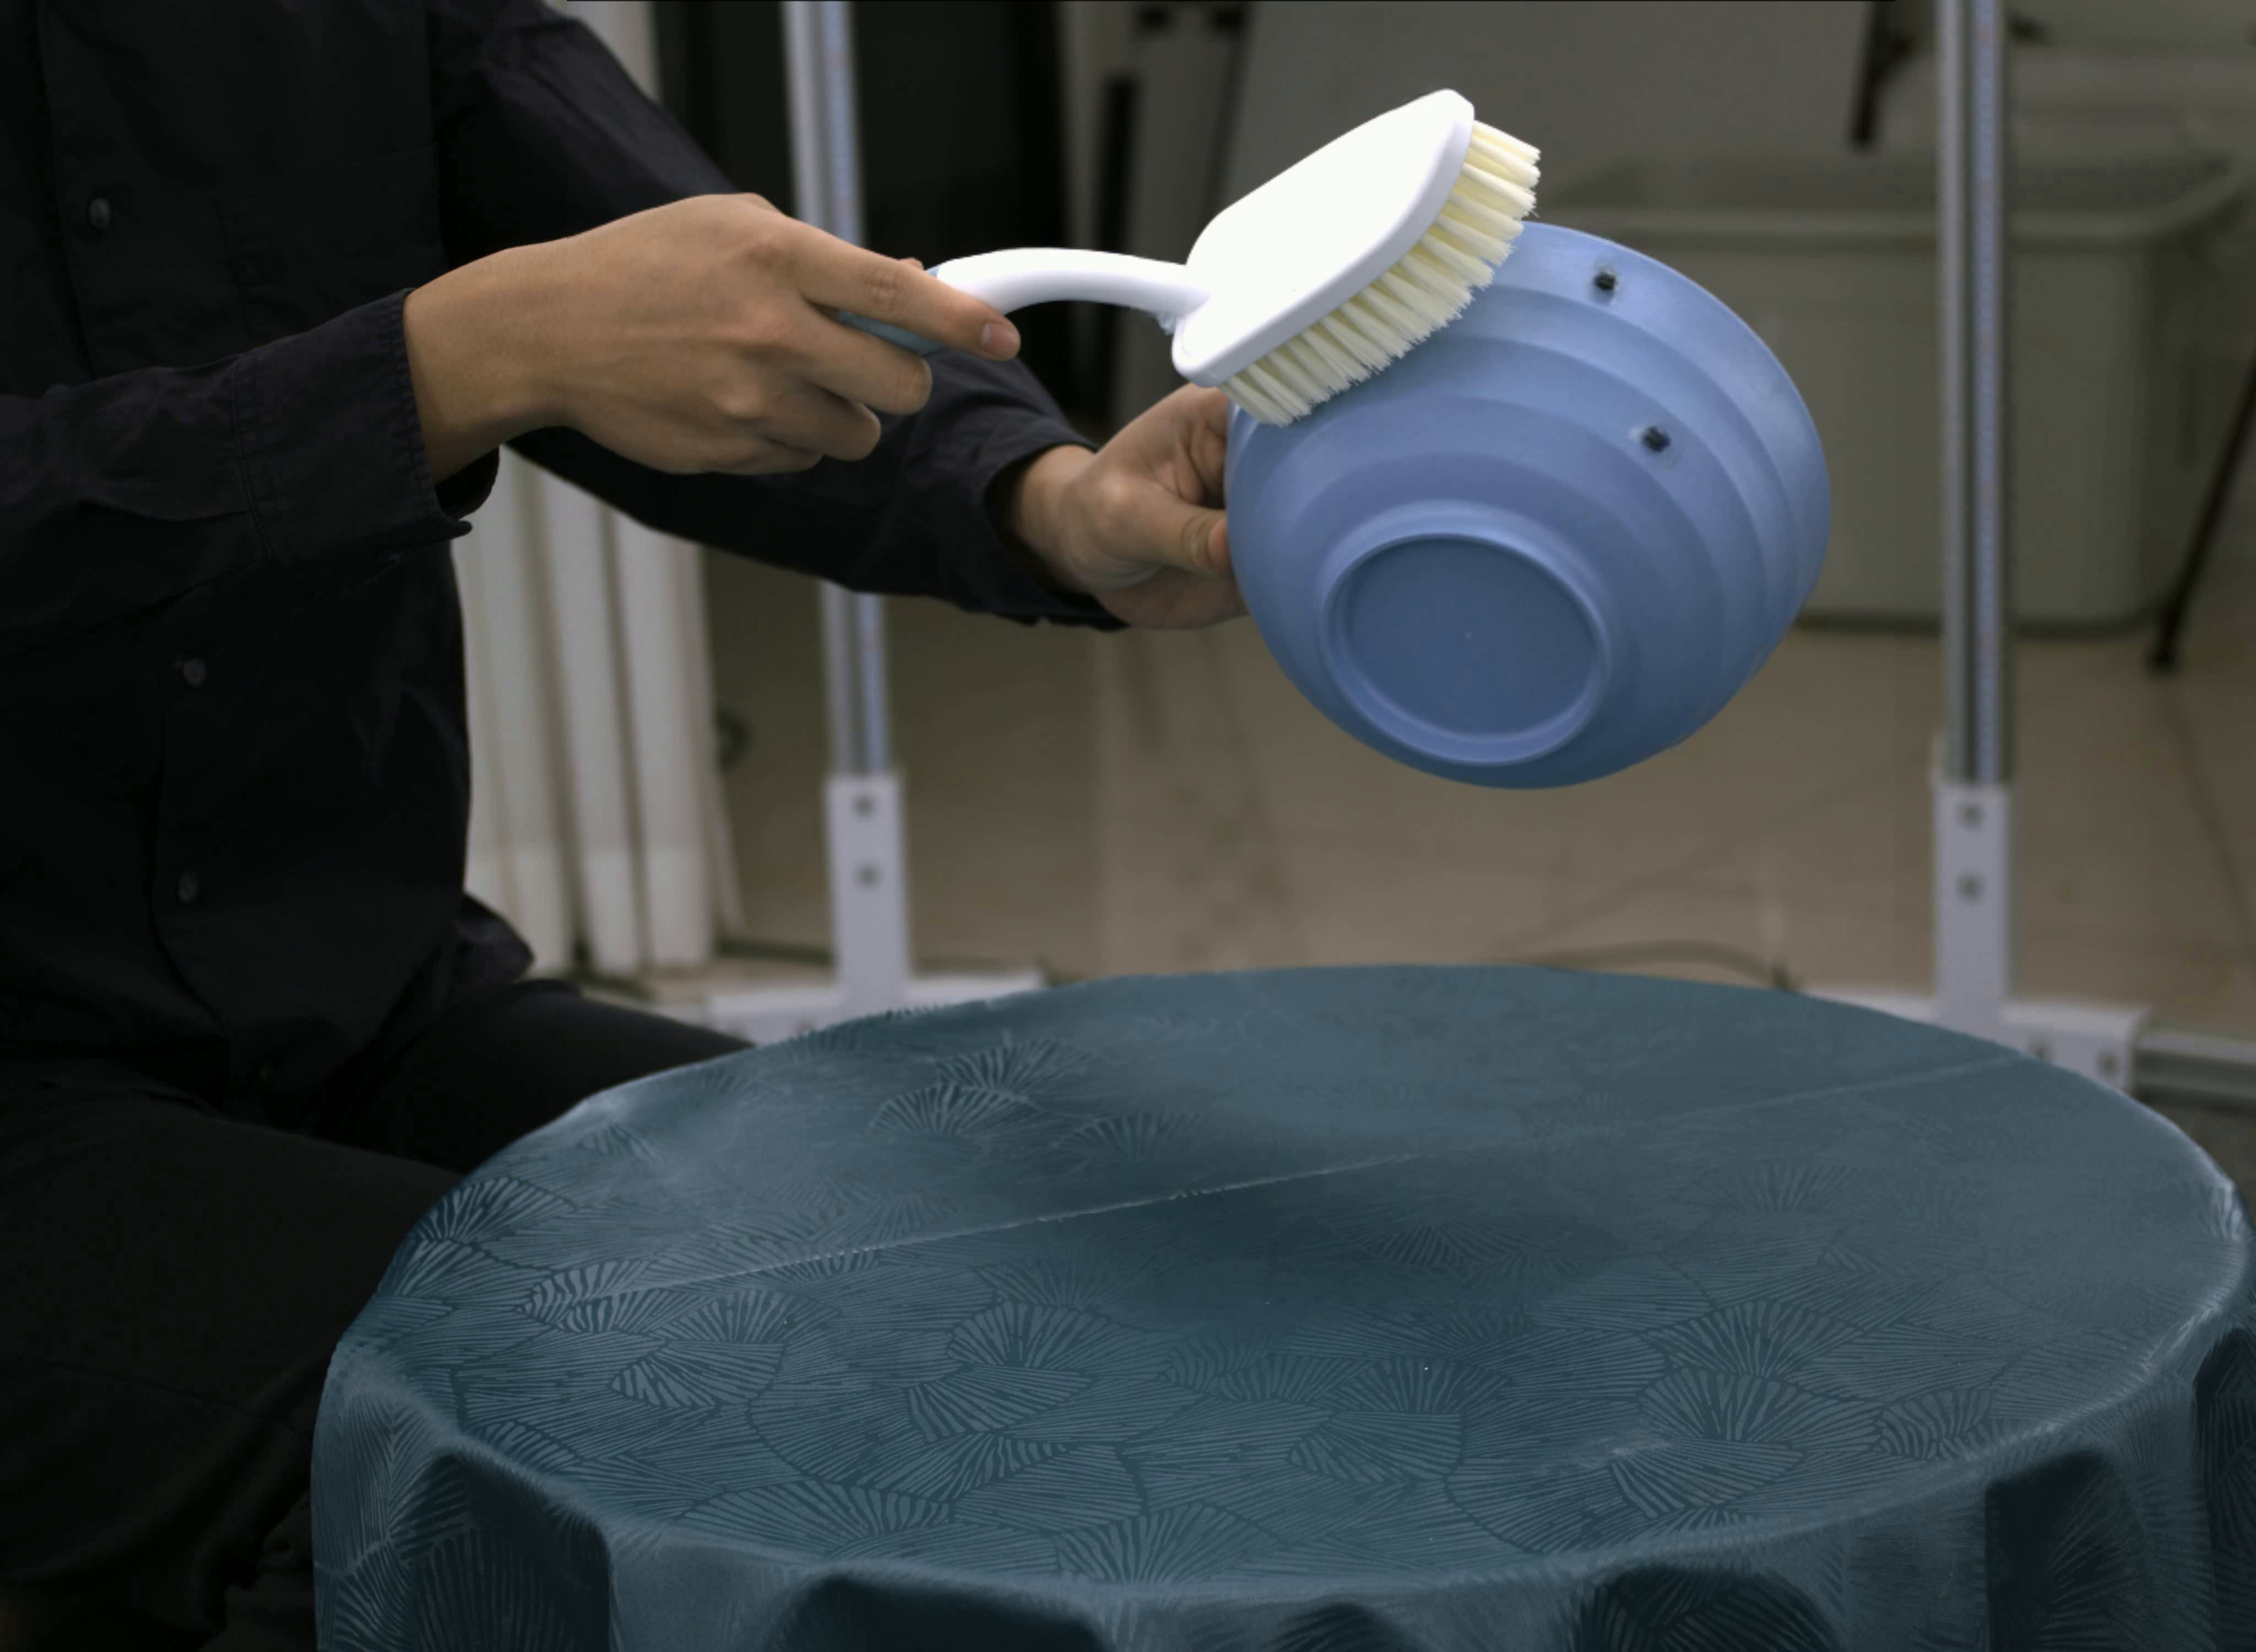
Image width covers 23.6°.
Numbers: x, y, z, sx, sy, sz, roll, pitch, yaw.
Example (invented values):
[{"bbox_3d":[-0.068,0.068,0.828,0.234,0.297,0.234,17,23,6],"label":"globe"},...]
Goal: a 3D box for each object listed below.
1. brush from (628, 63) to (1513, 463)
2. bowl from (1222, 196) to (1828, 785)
[{"bbox_3d":[-0.014,-0.156,1.682,0.327,0.085,0.082,-19,9,32],"label":"brush"},{"bbox_3d":[0.114,-0.086,1.672,0.196,0.197,0.095,2,38,19],"label":"bowl"}]
